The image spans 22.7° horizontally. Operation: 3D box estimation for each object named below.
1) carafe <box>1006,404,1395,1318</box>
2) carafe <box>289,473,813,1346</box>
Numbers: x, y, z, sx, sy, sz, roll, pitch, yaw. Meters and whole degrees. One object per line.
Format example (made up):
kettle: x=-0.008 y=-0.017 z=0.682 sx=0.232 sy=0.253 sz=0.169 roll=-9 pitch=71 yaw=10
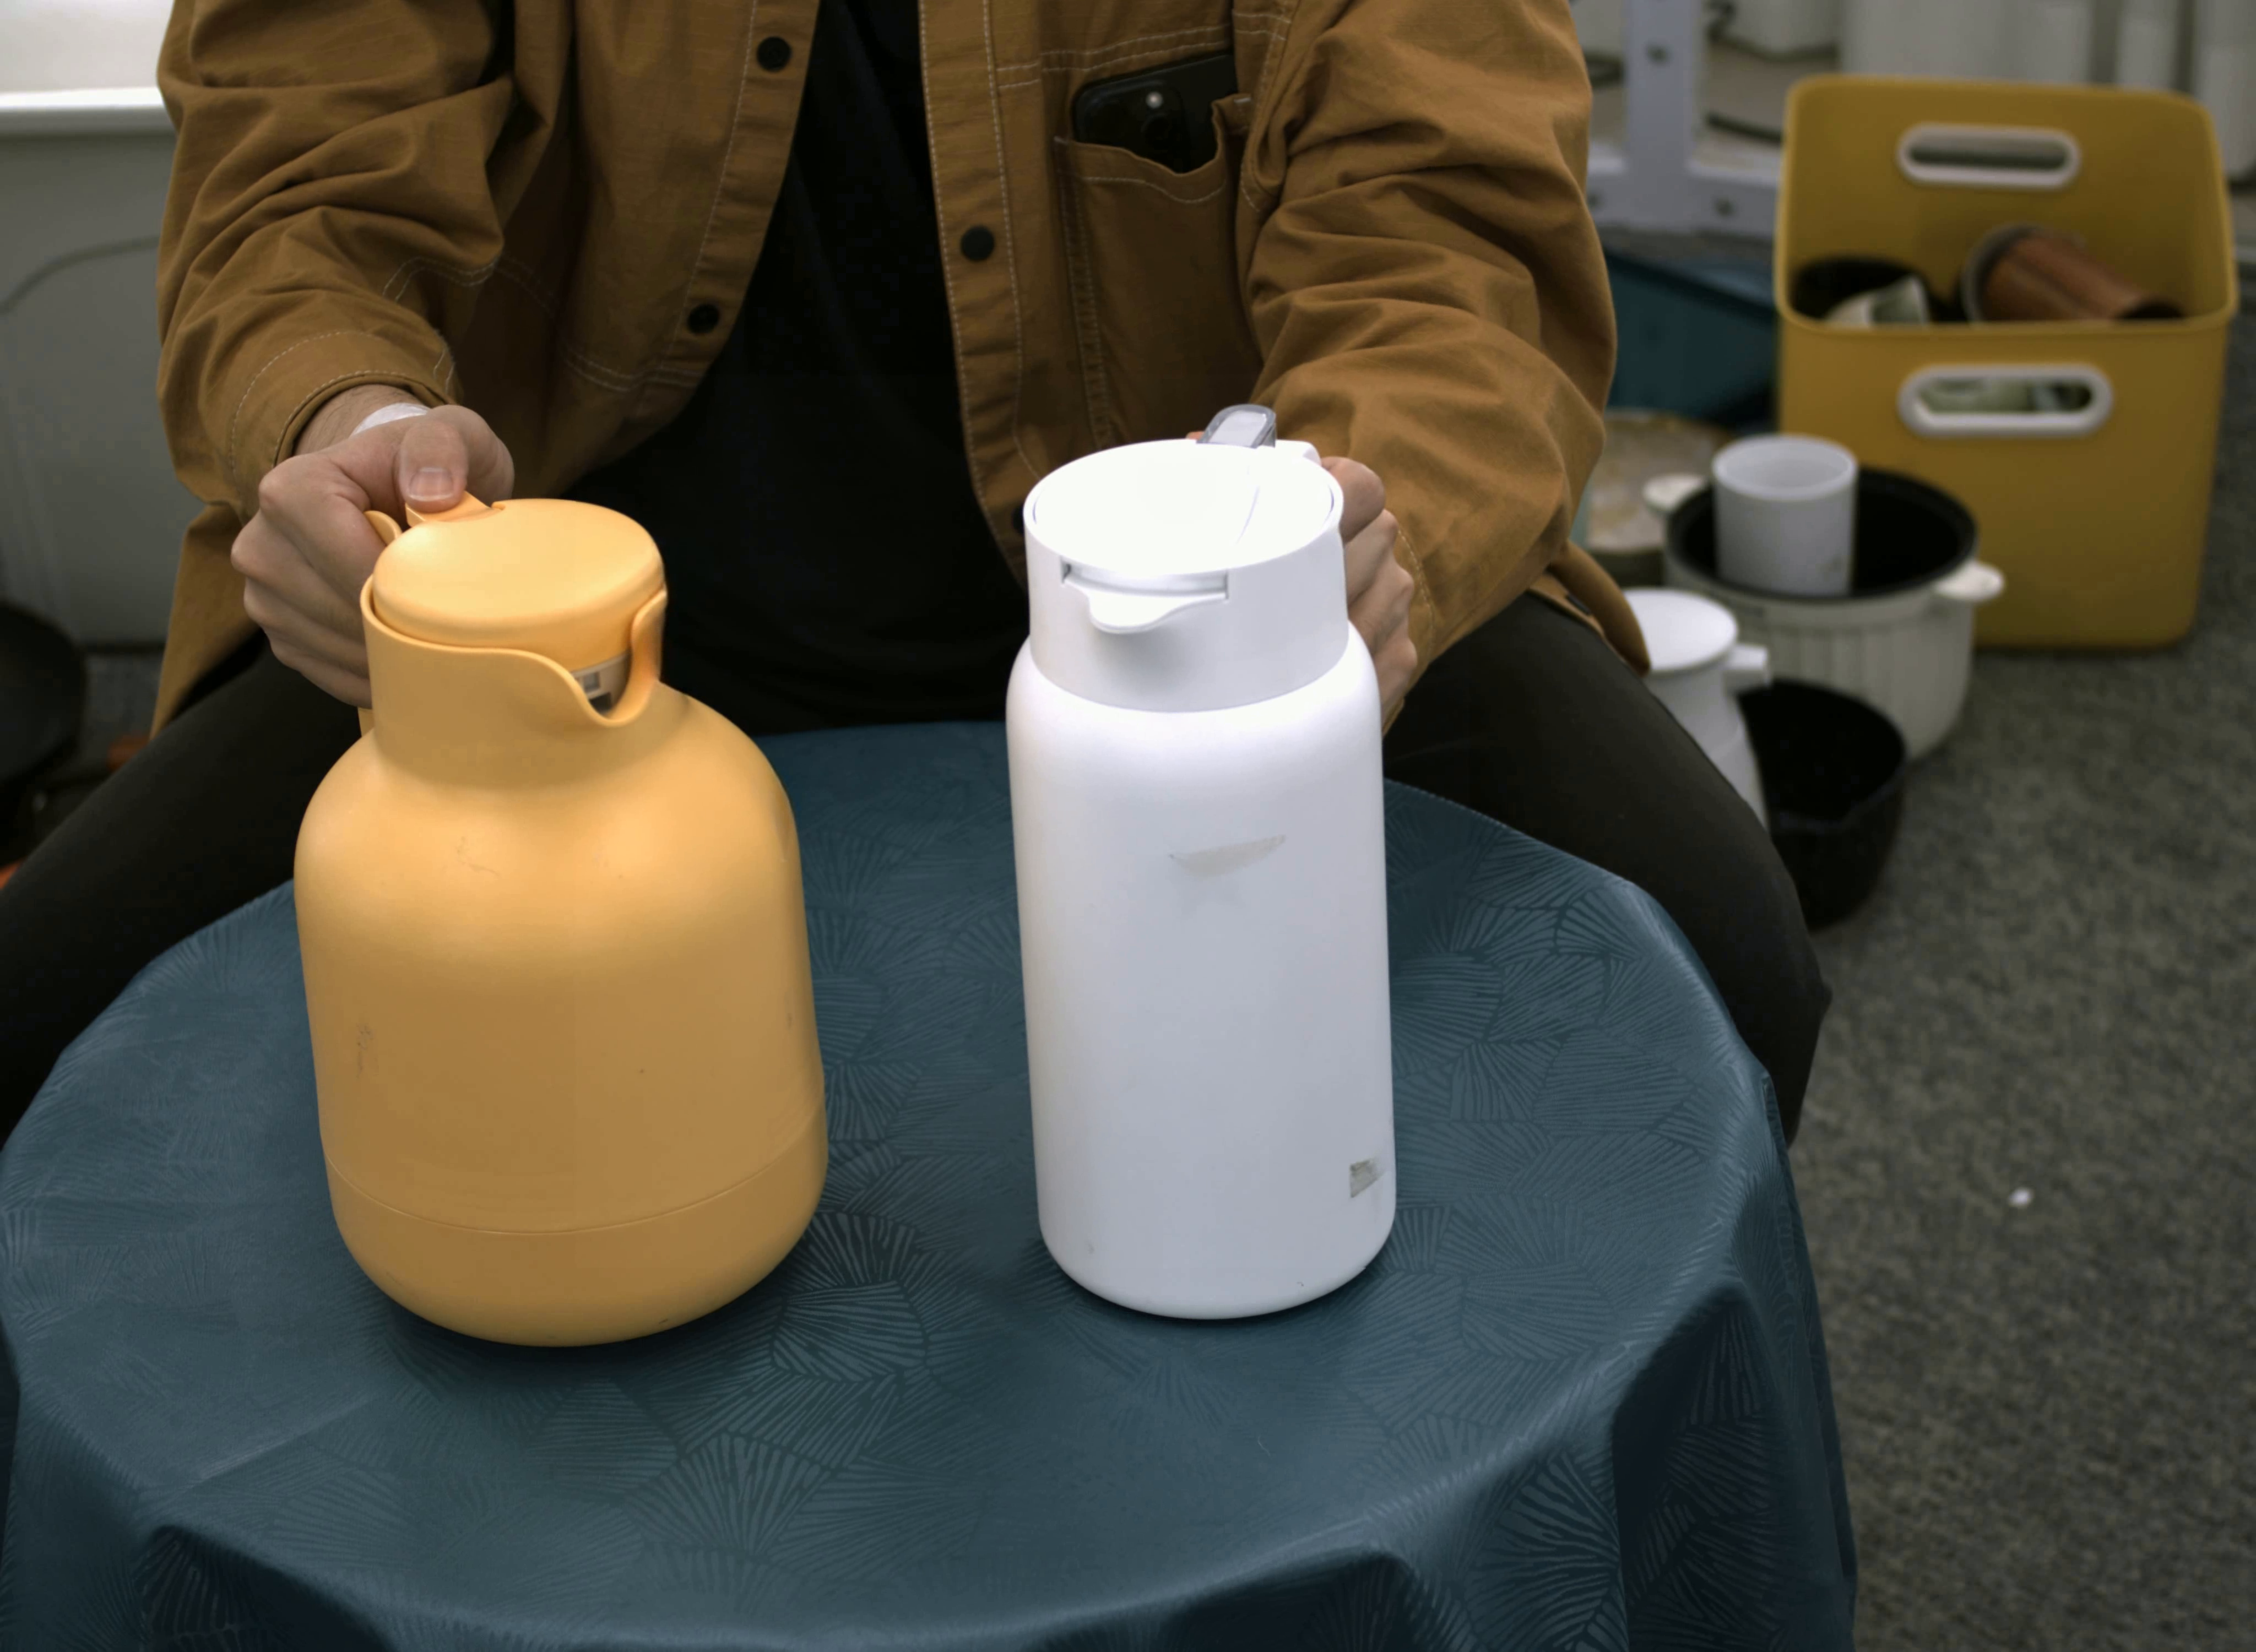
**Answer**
carafe: x=0.027 y=0.007 z=1.790 sx=0.123 sy=0.266 sz=0.176 roll=3 pitch=27 yaw=17
carafe: x=-0.192 y=0.017 z=1.798 sx=0.164 sy=0.258 sz=0.203 roll=-13 pitch=29 yaw=-25
